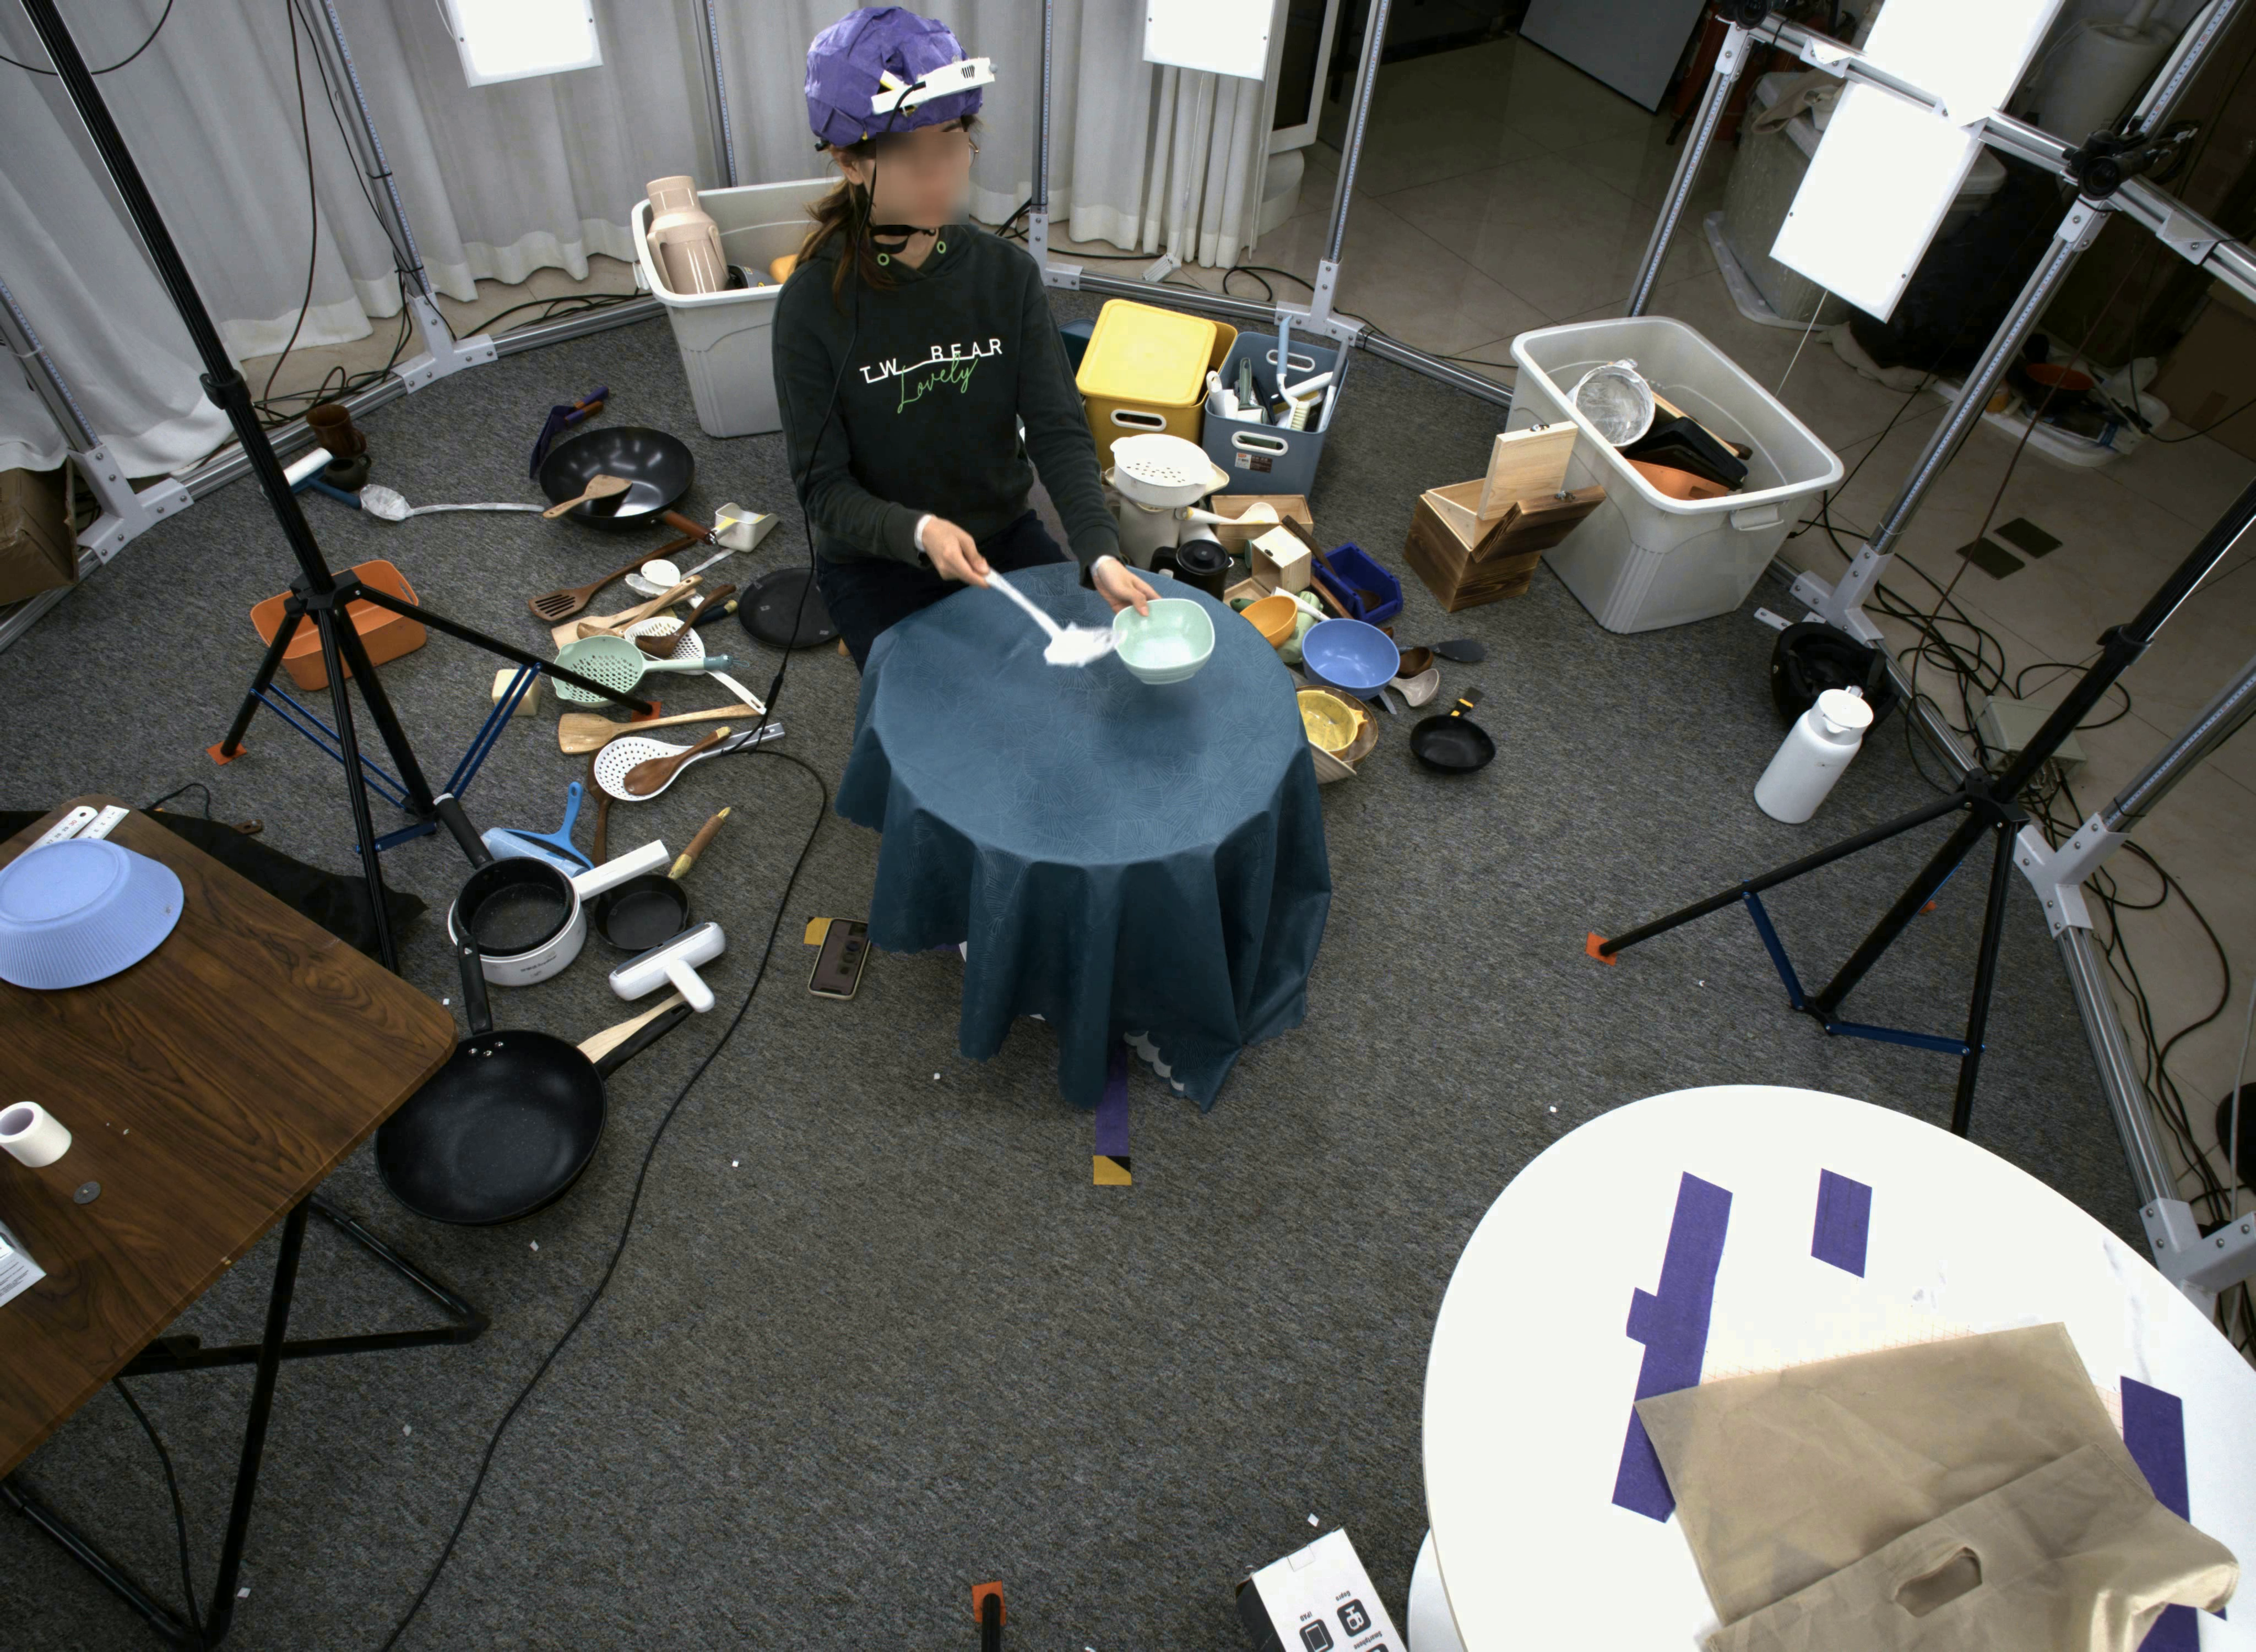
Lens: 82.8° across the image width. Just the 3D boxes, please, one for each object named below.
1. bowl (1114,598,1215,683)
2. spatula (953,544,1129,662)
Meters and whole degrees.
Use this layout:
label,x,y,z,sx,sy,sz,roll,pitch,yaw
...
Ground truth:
label,x,y,z,sx,sy,sz,roll,pitch,yaw
bowl,0.050,-0.250,1.790,0.151,0.057,0.155,-1,52,1
spatula,-0.138,-0.311,1.729,0.099,0.043,0.371,-33,53,-22
